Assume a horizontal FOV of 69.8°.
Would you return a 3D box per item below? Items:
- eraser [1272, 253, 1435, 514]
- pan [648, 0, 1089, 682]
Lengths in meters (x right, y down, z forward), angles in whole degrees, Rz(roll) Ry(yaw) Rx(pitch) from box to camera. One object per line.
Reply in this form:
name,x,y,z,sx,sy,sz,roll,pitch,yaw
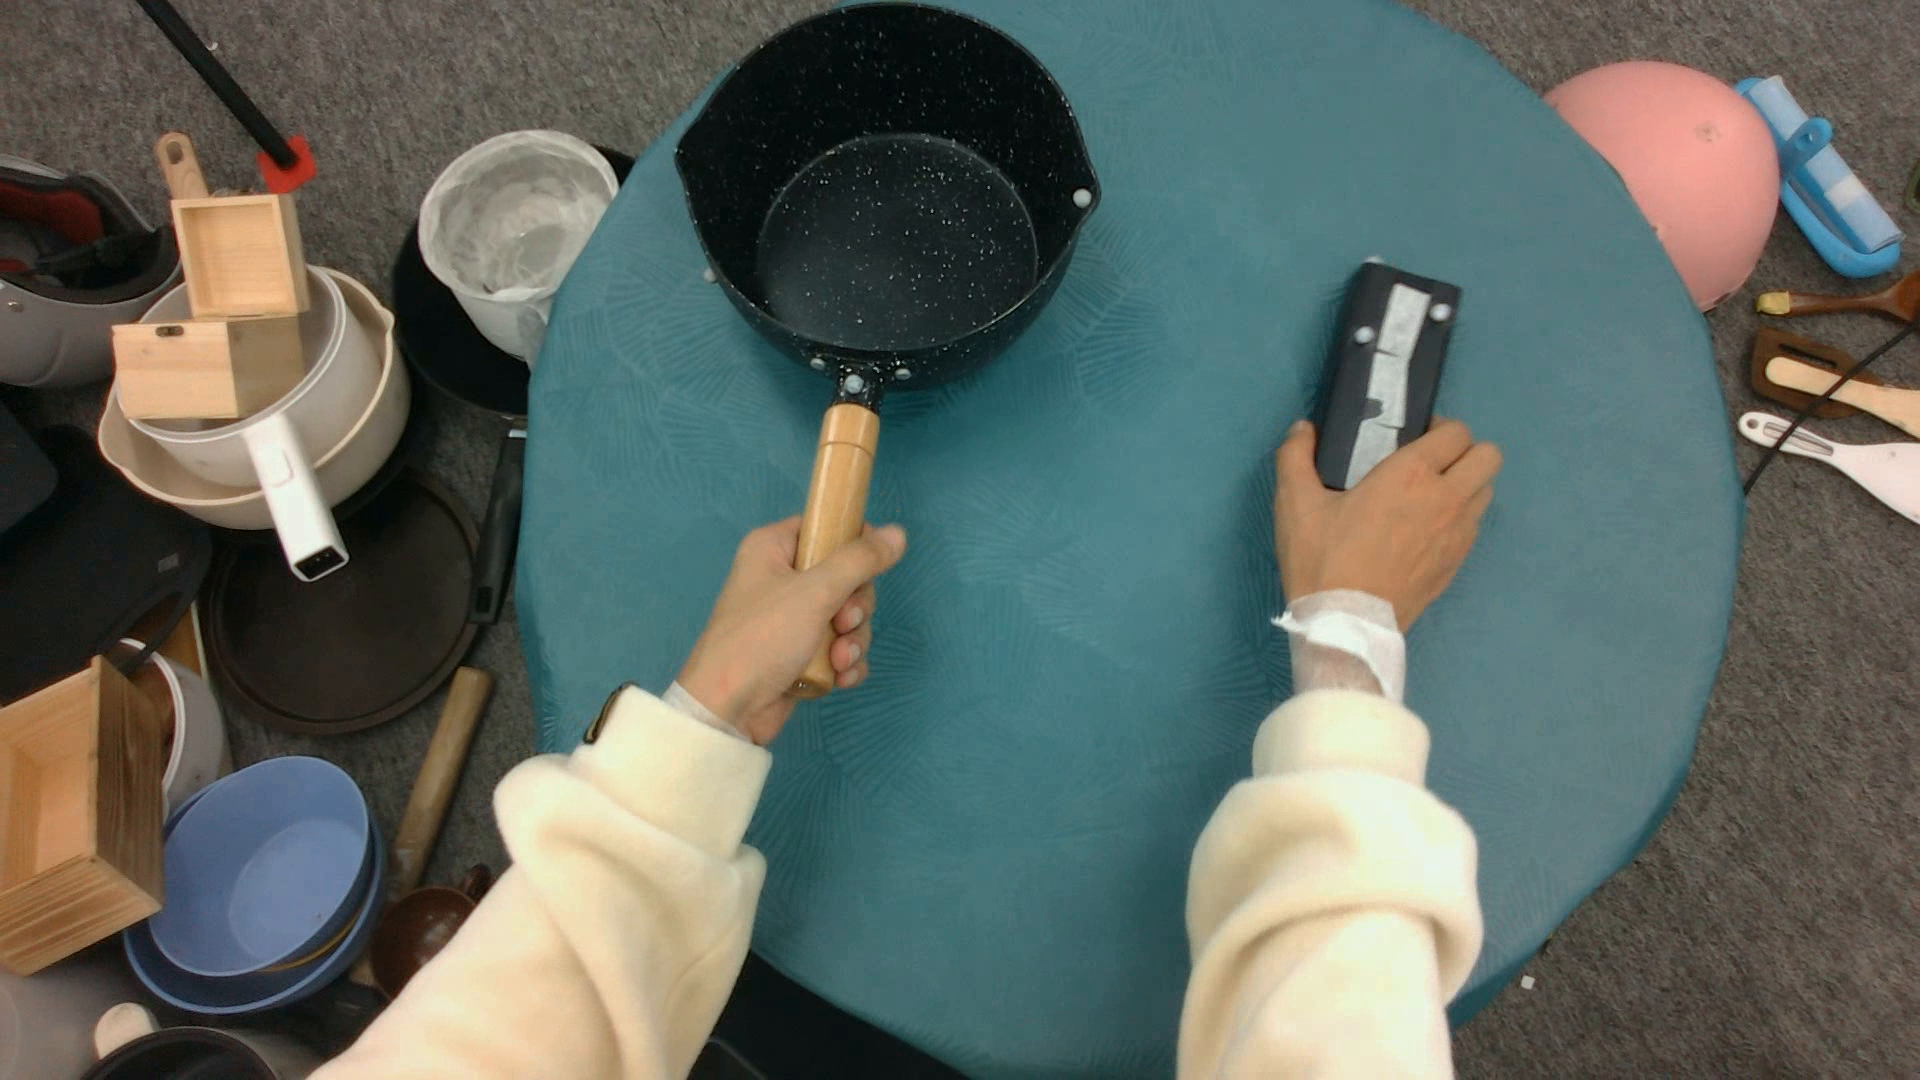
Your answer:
eraser,0.193,-0.078,0.677,0.053,0.030,0.126,17,74,1
pan,-0.050,-0.092,0.641,0.207,0.108,0.344,5,71,1
